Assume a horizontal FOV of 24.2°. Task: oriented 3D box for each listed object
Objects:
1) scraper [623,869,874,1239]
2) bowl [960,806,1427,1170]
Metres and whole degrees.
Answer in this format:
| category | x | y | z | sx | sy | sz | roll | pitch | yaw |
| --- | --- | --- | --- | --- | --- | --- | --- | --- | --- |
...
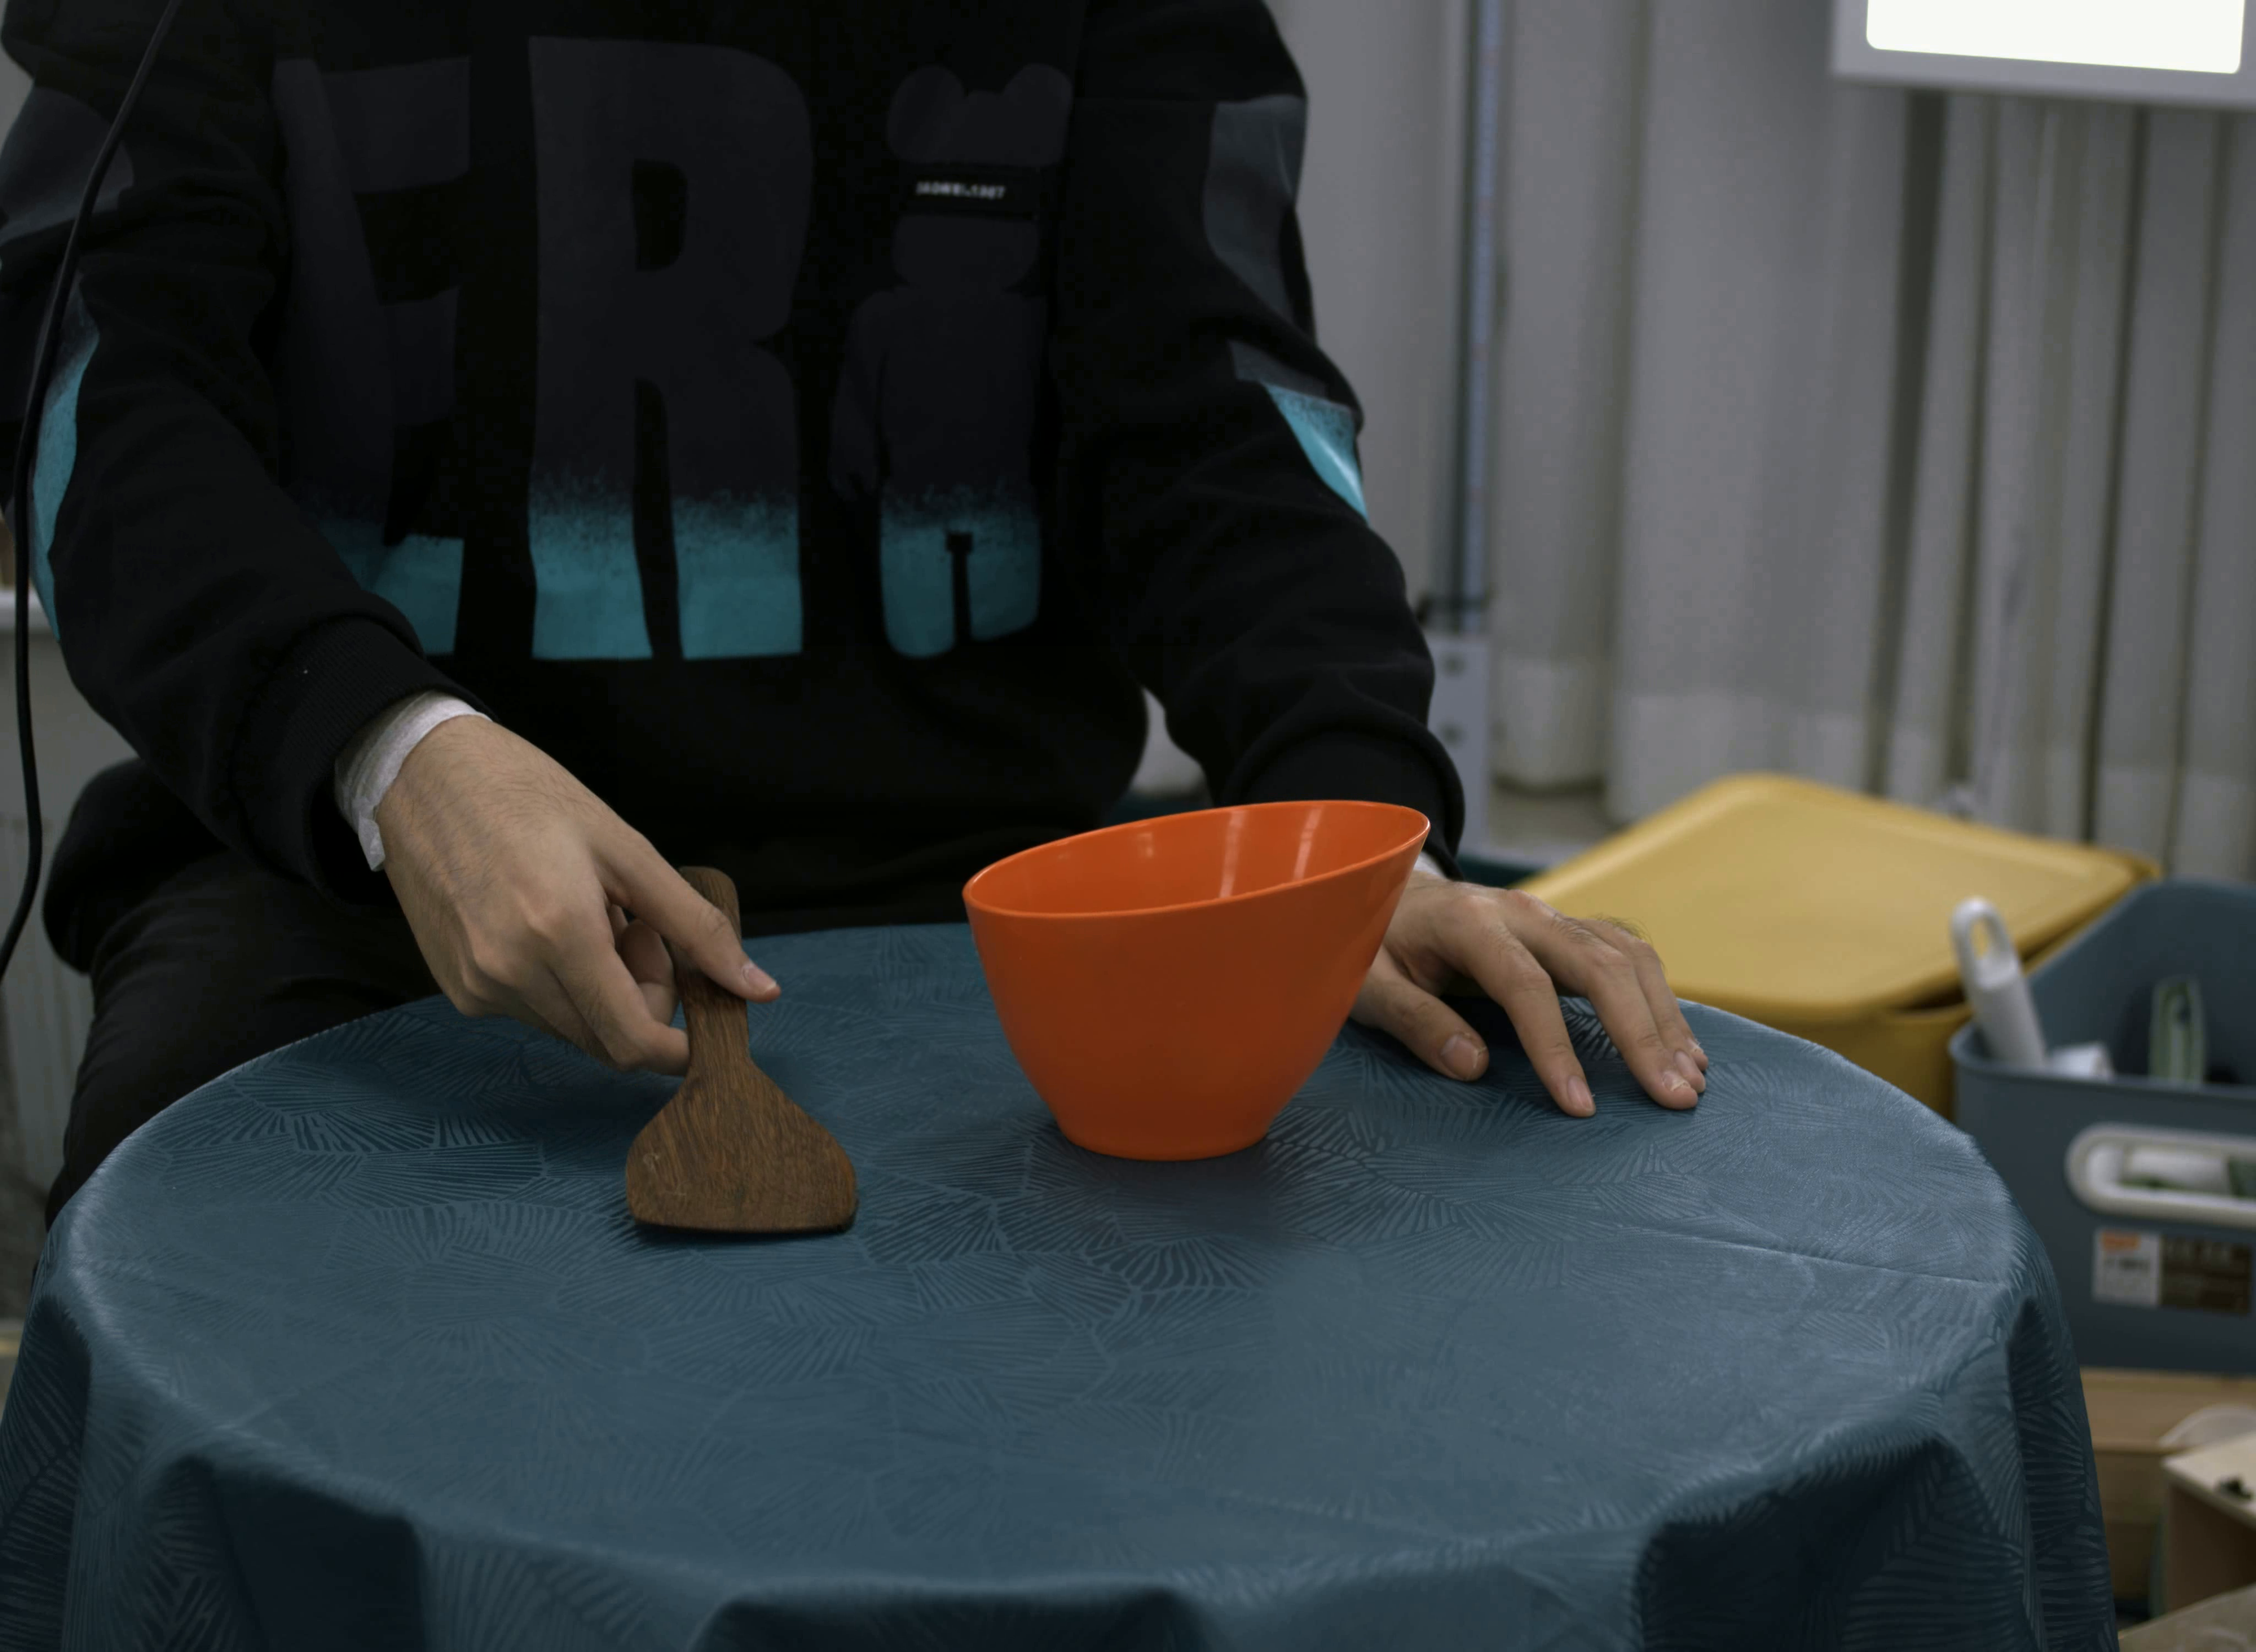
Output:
| category | x | y | z | sx | sy | sz | roll | pitch | yaw |
| --- | --- | --- | --- | --- | --- | --- | --- | --- | --- |
| scraper | -0.128 | 0.070 | 1.665 | 0.076 | 0.011 | 0.209 | 2 | 32 | -12 |
| bowl | 0.021 | 0.051 | 1.664 | 0.147 | 0.105 | 0.147 | -1 | 16 | 1 |
